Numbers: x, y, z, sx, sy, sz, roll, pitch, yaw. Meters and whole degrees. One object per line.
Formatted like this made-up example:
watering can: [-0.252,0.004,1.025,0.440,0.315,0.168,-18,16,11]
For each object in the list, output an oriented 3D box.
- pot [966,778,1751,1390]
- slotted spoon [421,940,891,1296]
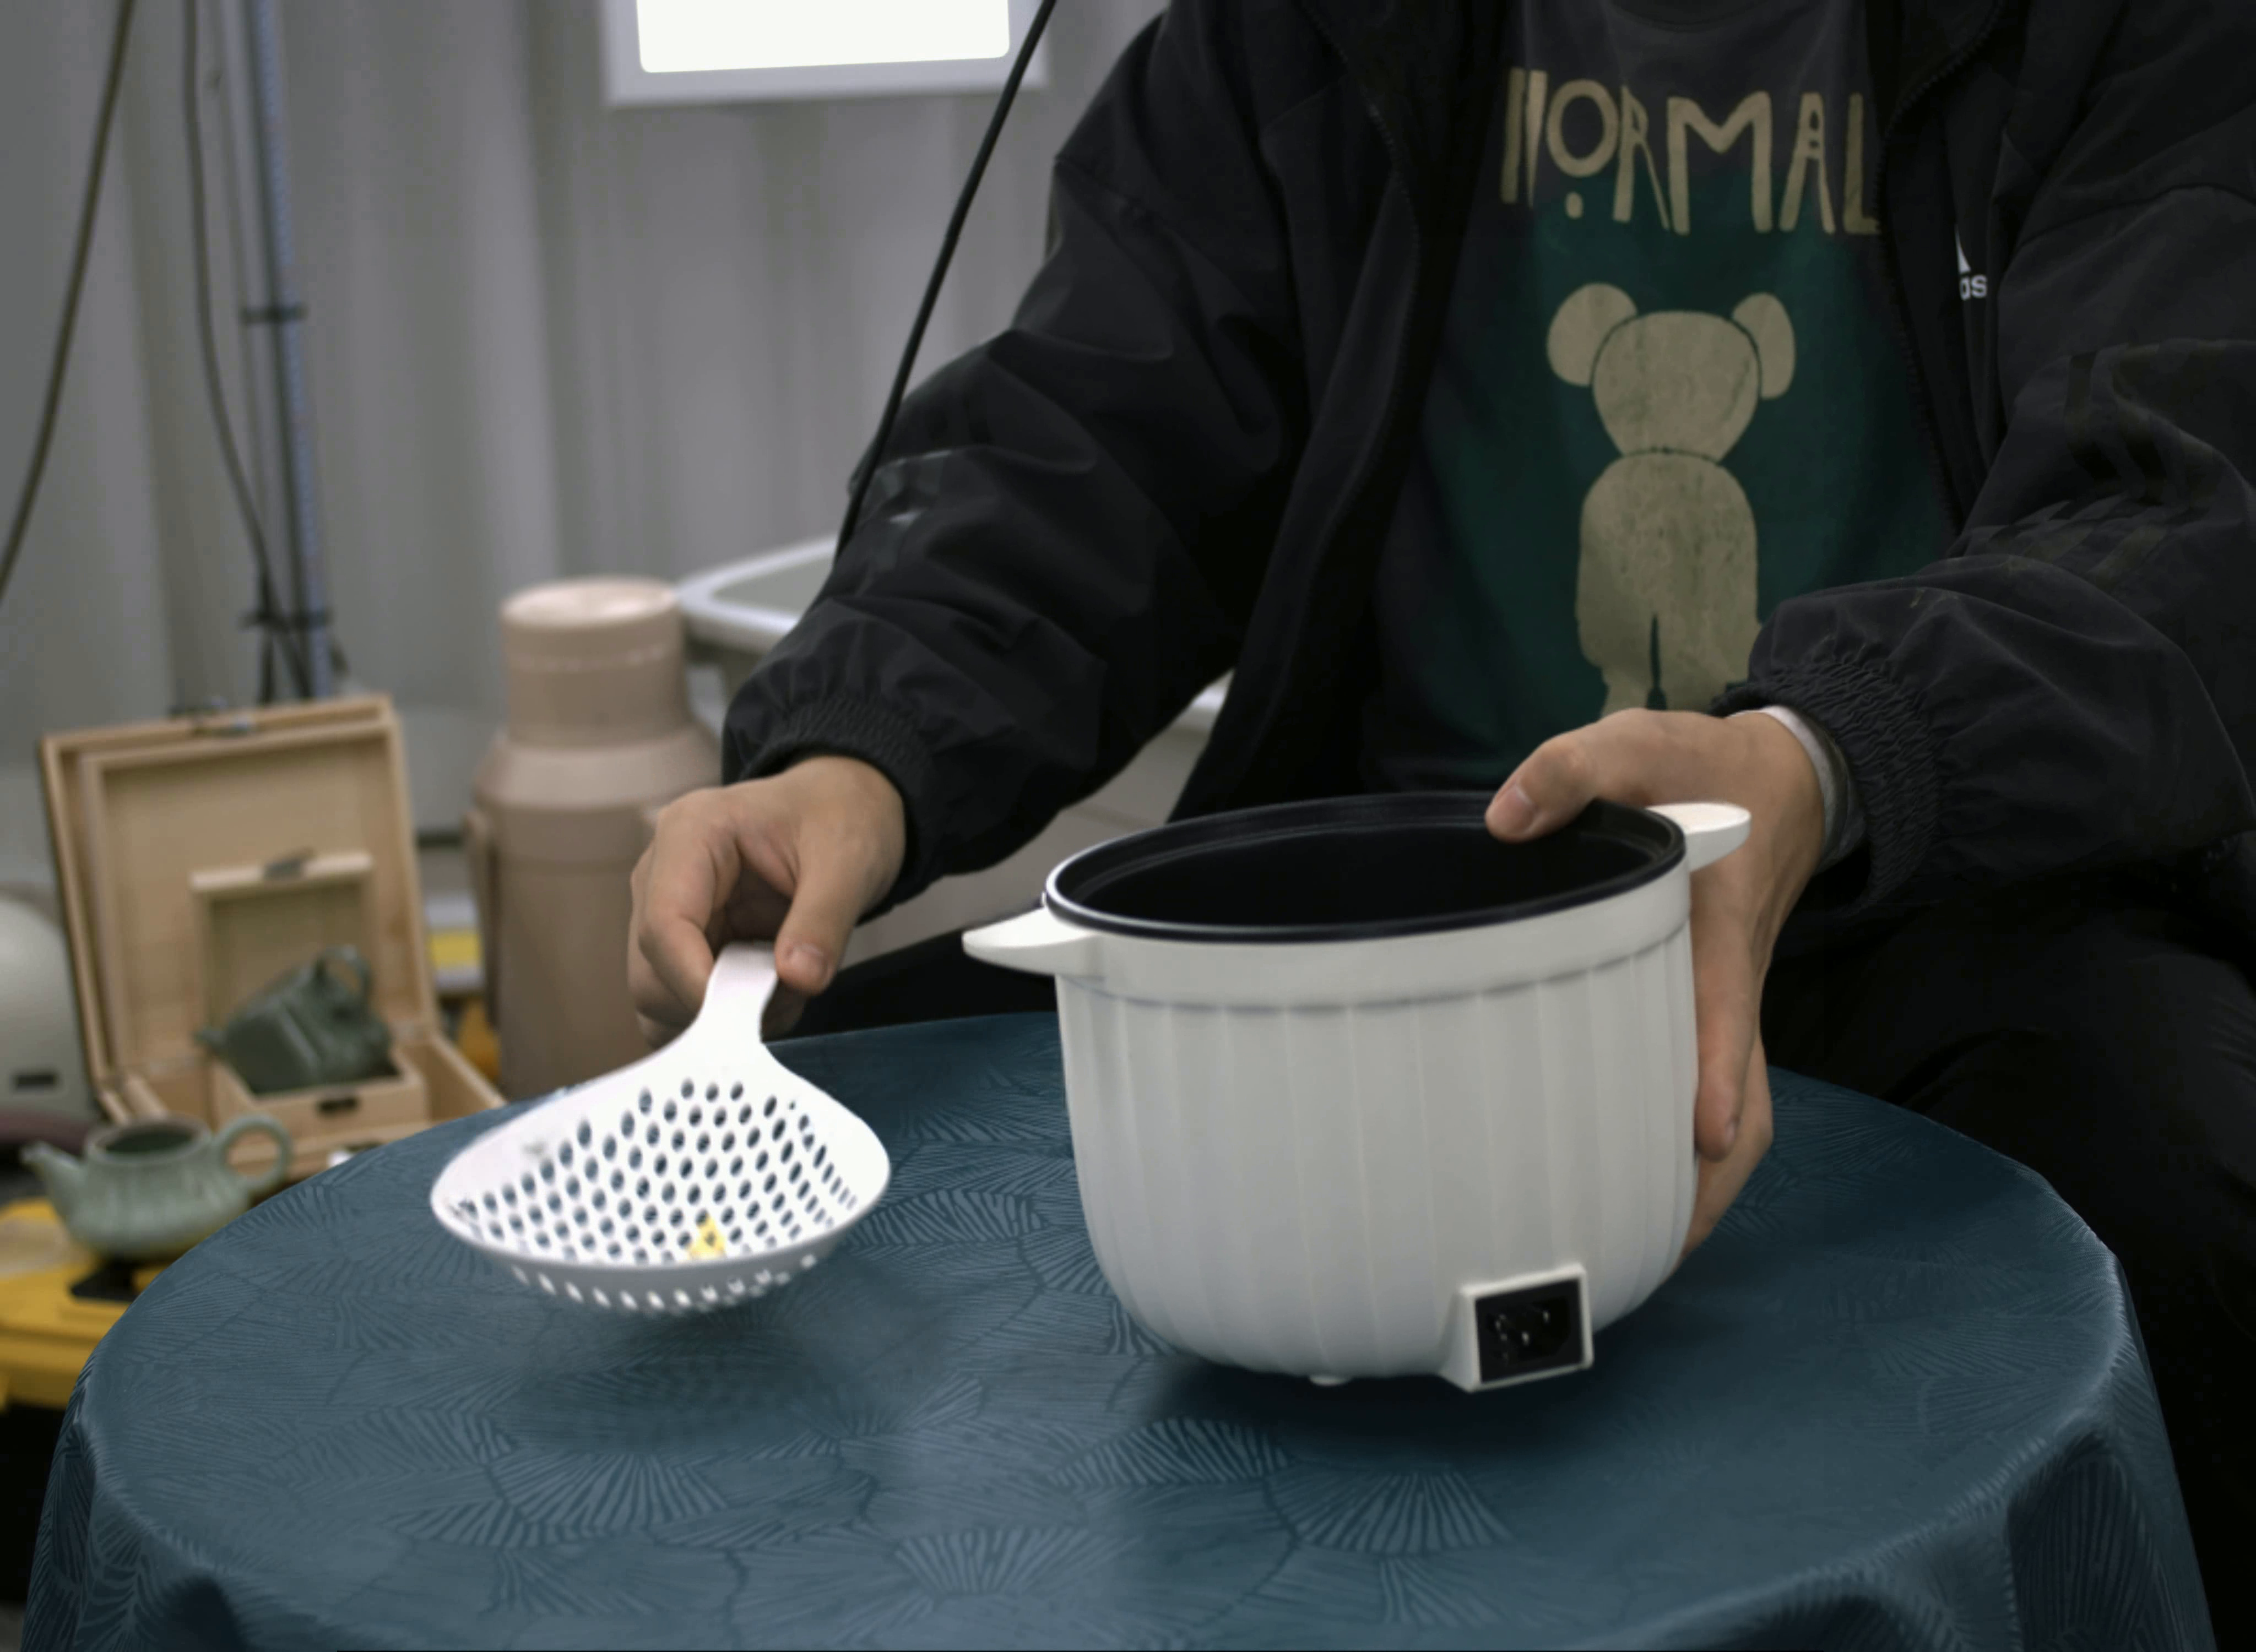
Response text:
pot: [0.068,0.071,1.547,0.239,0.142,0.192,-8,14,-21]
slotted spoon: [-0.131,0.077,1.704,0.136,0.050,0.351,0,19,3]
